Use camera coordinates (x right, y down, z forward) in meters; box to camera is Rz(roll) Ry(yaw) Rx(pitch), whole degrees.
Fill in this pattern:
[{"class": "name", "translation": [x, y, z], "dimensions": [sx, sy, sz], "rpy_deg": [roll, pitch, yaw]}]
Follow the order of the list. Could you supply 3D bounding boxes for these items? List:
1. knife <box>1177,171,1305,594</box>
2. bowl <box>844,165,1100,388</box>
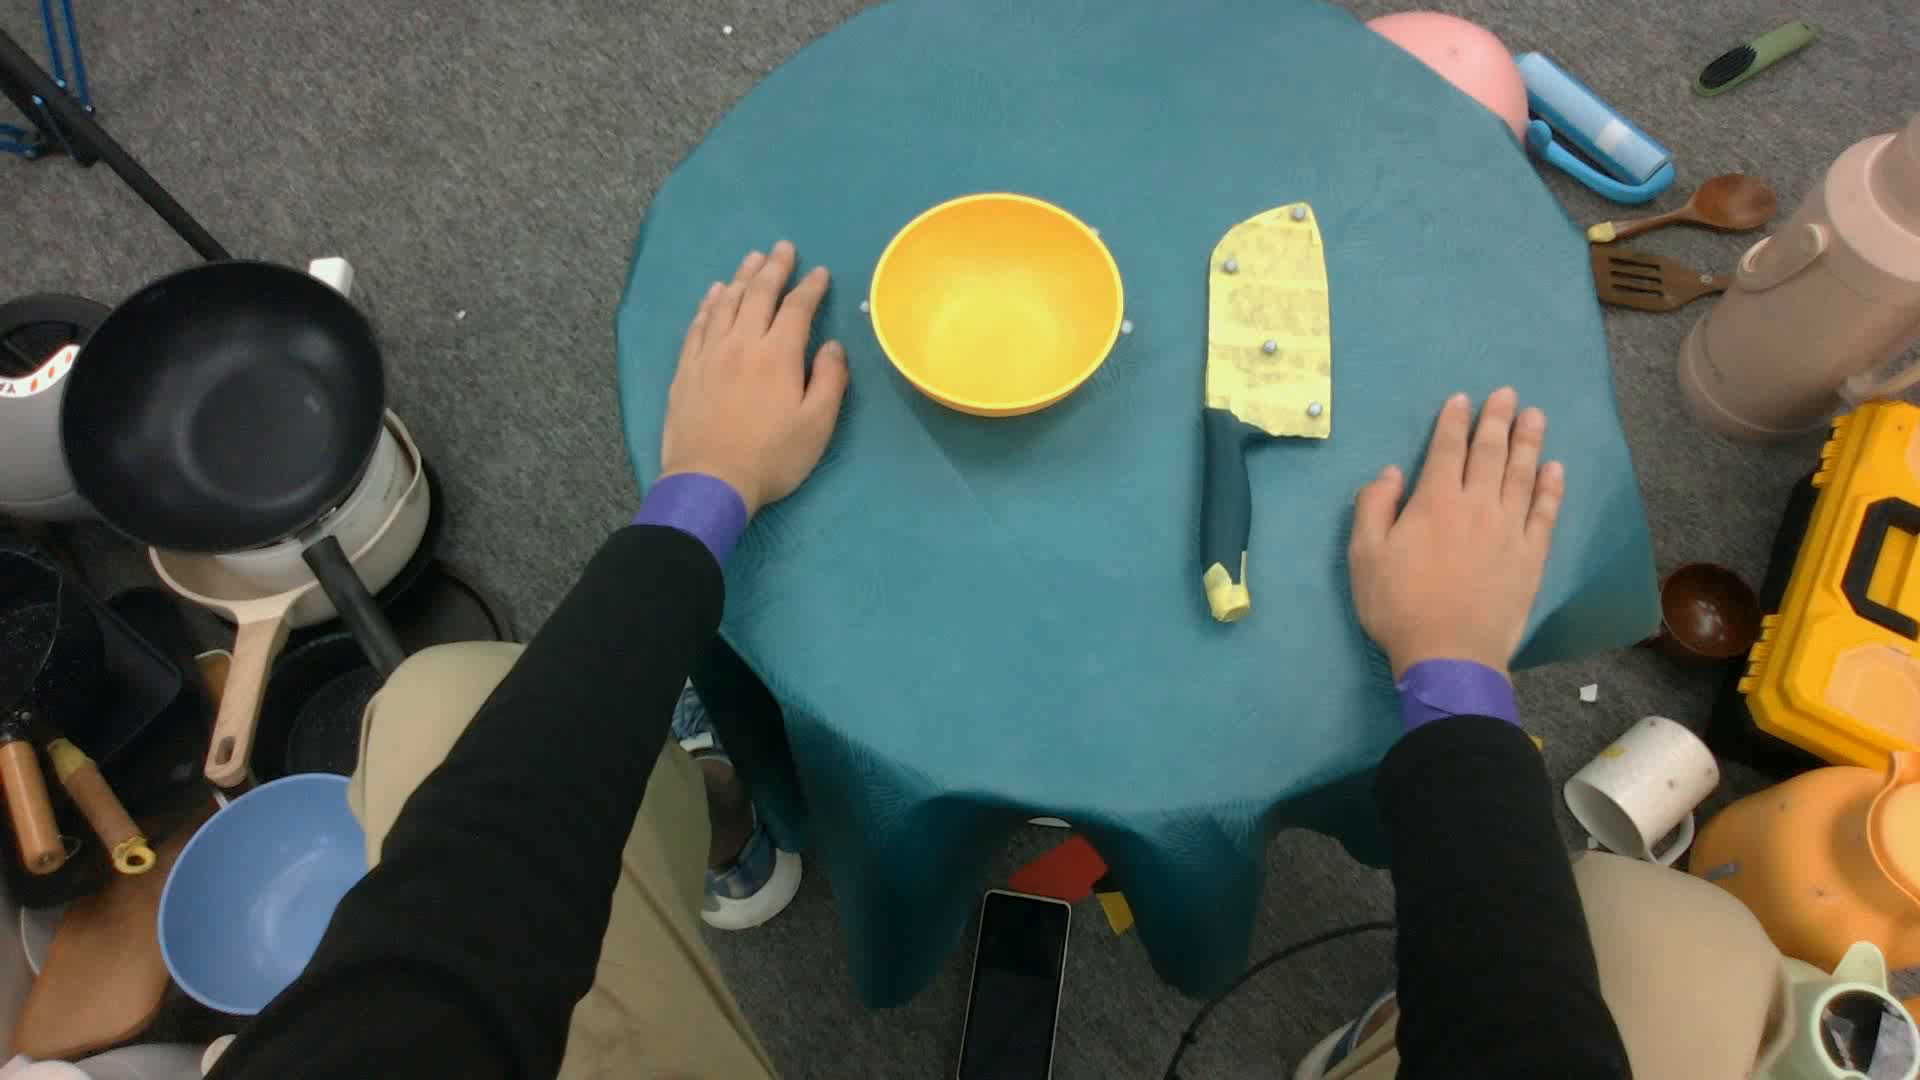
[{"class": "knife", "translation": [0.164, -0.102, 0.812], "dimensions": [0.081, 0.027, 0.290], "rpy_deg": [7, 67, 4]}, {"class": "bowl", "translation": [0.008, -0.143, 0.804], "dimensions": [0.145, 0.060, 0.146], "rpy_deg": [-1, 67, 2]}]
